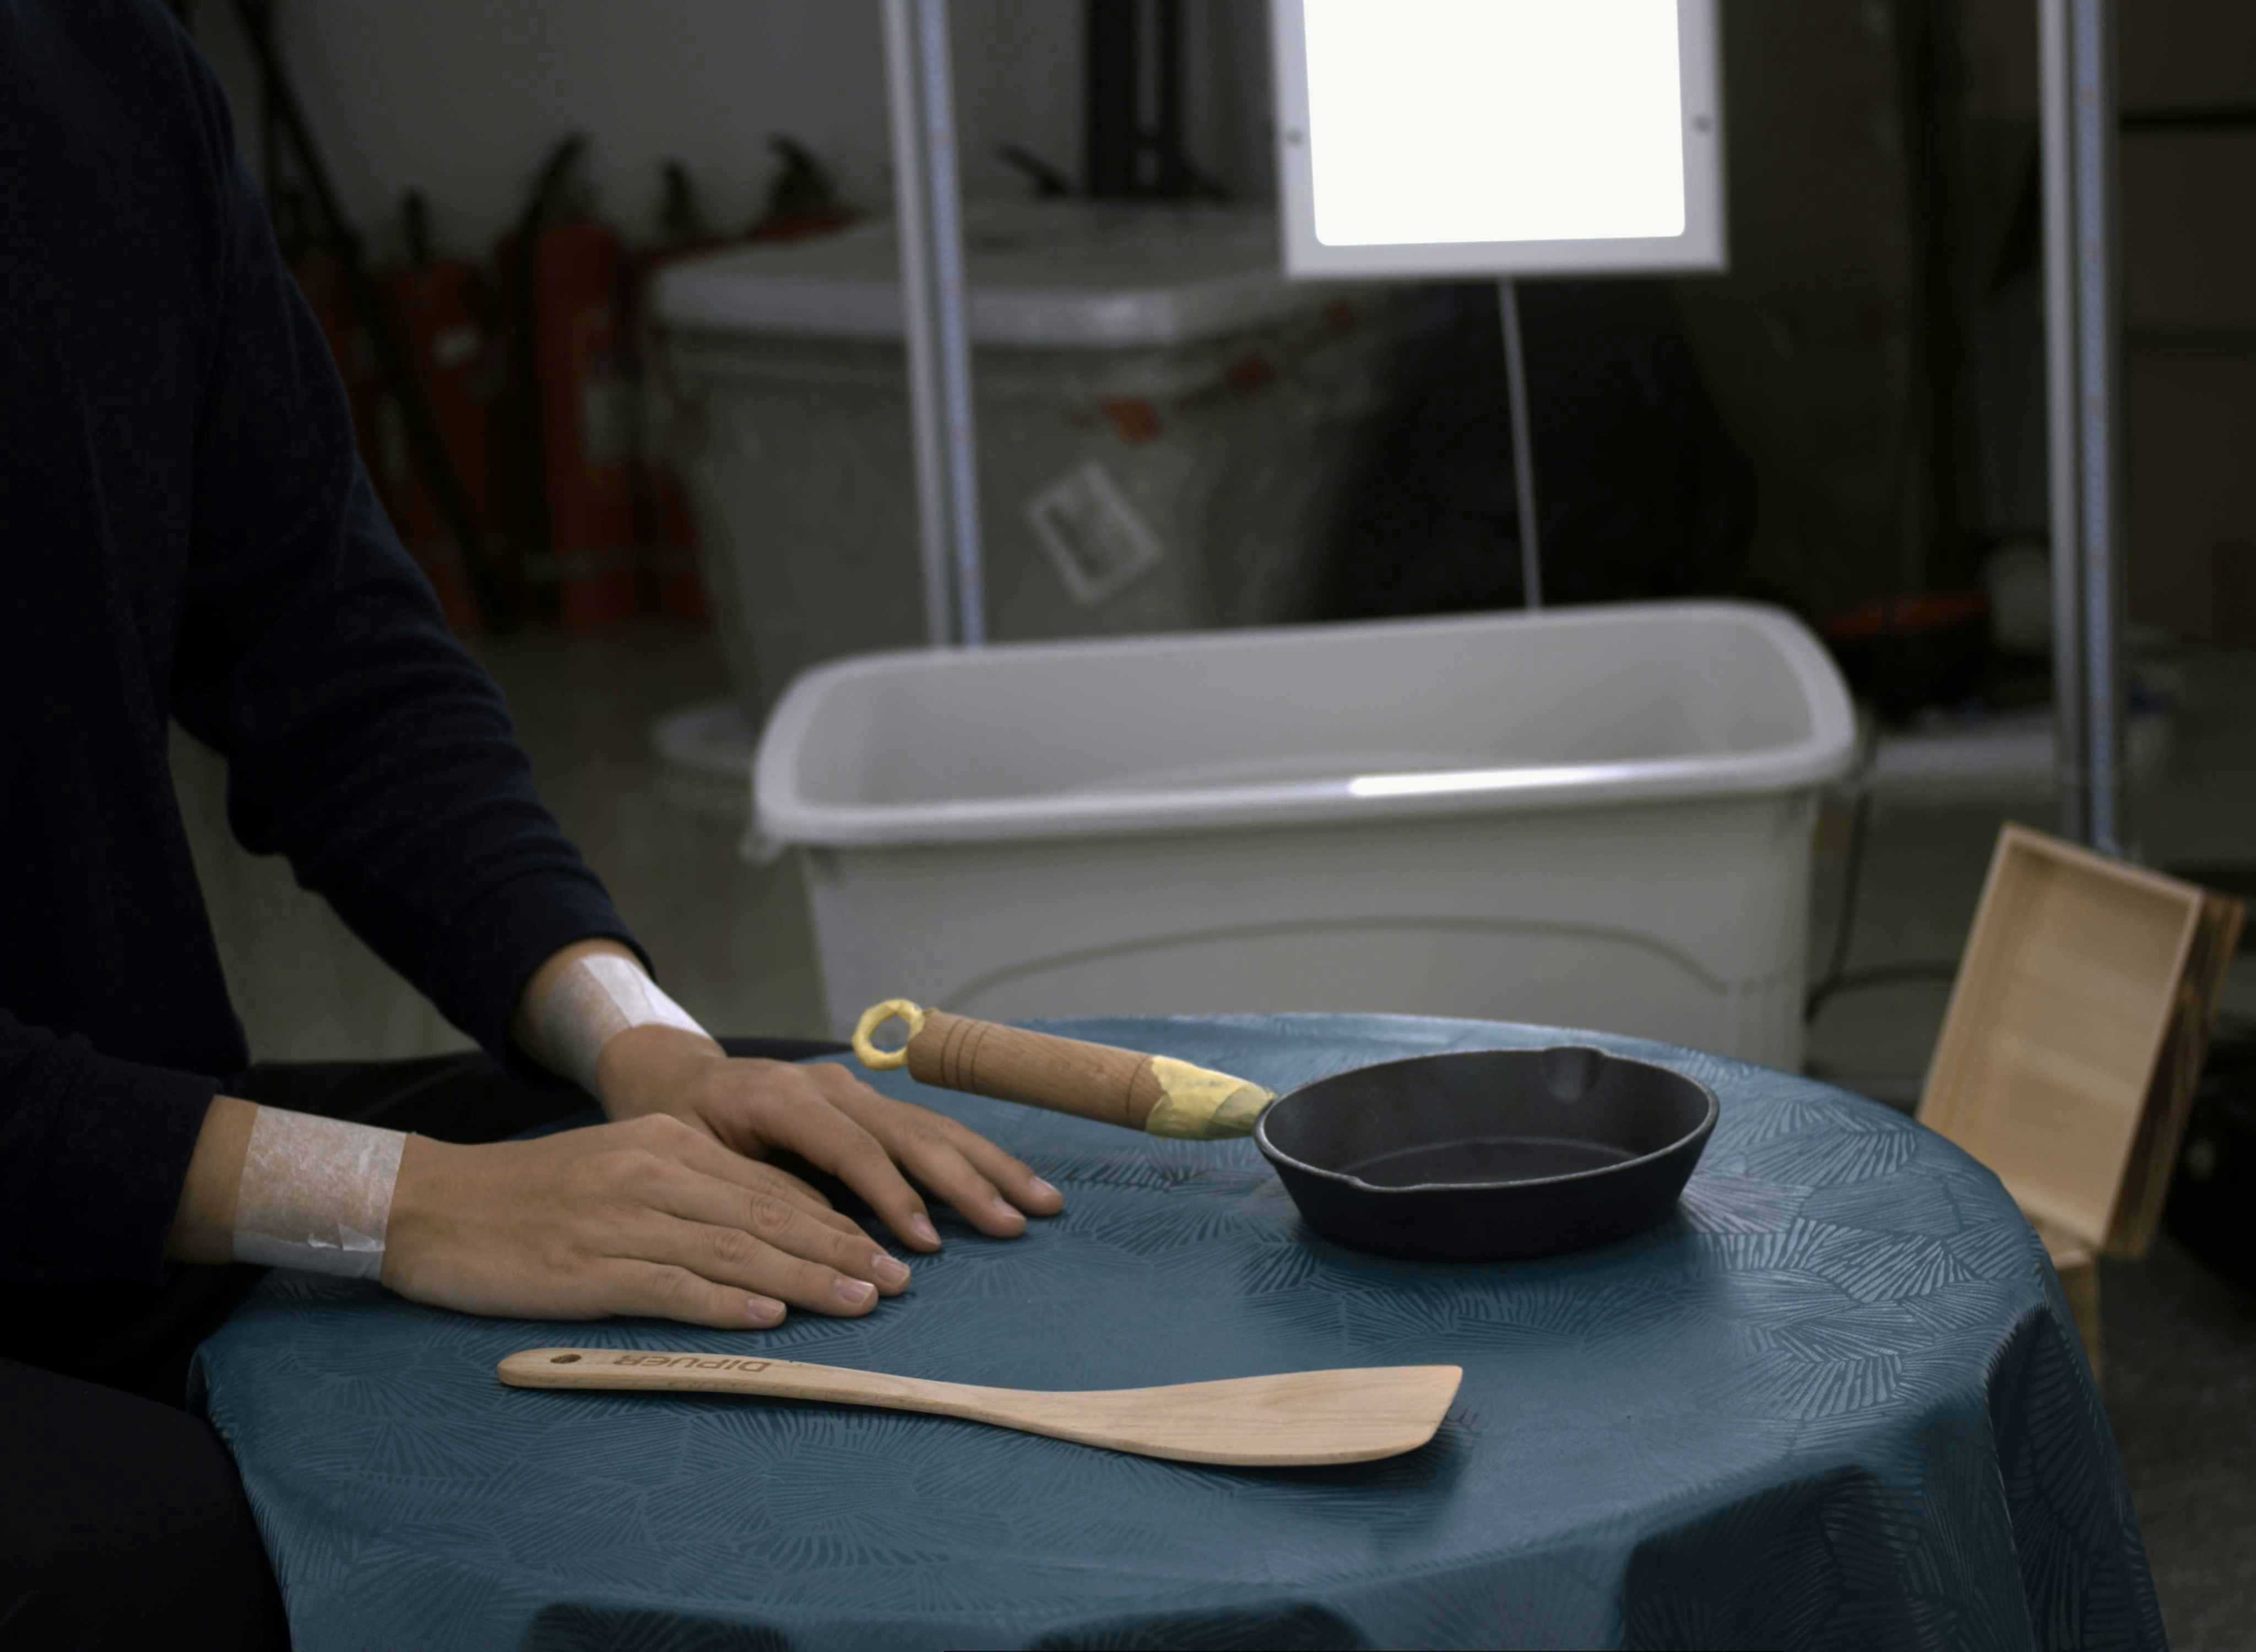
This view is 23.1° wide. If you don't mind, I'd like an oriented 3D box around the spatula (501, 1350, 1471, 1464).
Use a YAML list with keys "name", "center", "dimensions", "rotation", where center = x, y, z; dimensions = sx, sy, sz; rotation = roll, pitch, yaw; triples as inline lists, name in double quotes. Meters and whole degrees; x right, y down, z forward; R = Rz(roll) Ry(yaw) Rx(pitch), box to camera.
- name: "spatula"
  center: [-0.048, 0.172, 1.694]
  dimensions: [0.333, 0.016, 0.078]
  rotation: [1, 14, 25]

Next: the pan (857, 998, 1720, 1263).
- name: "pan"
  center: [0.048, 0.098, 1.889]
  dimensions: [0.330, 0.050, 0.165]
  rotation: [5, 17, 32]
